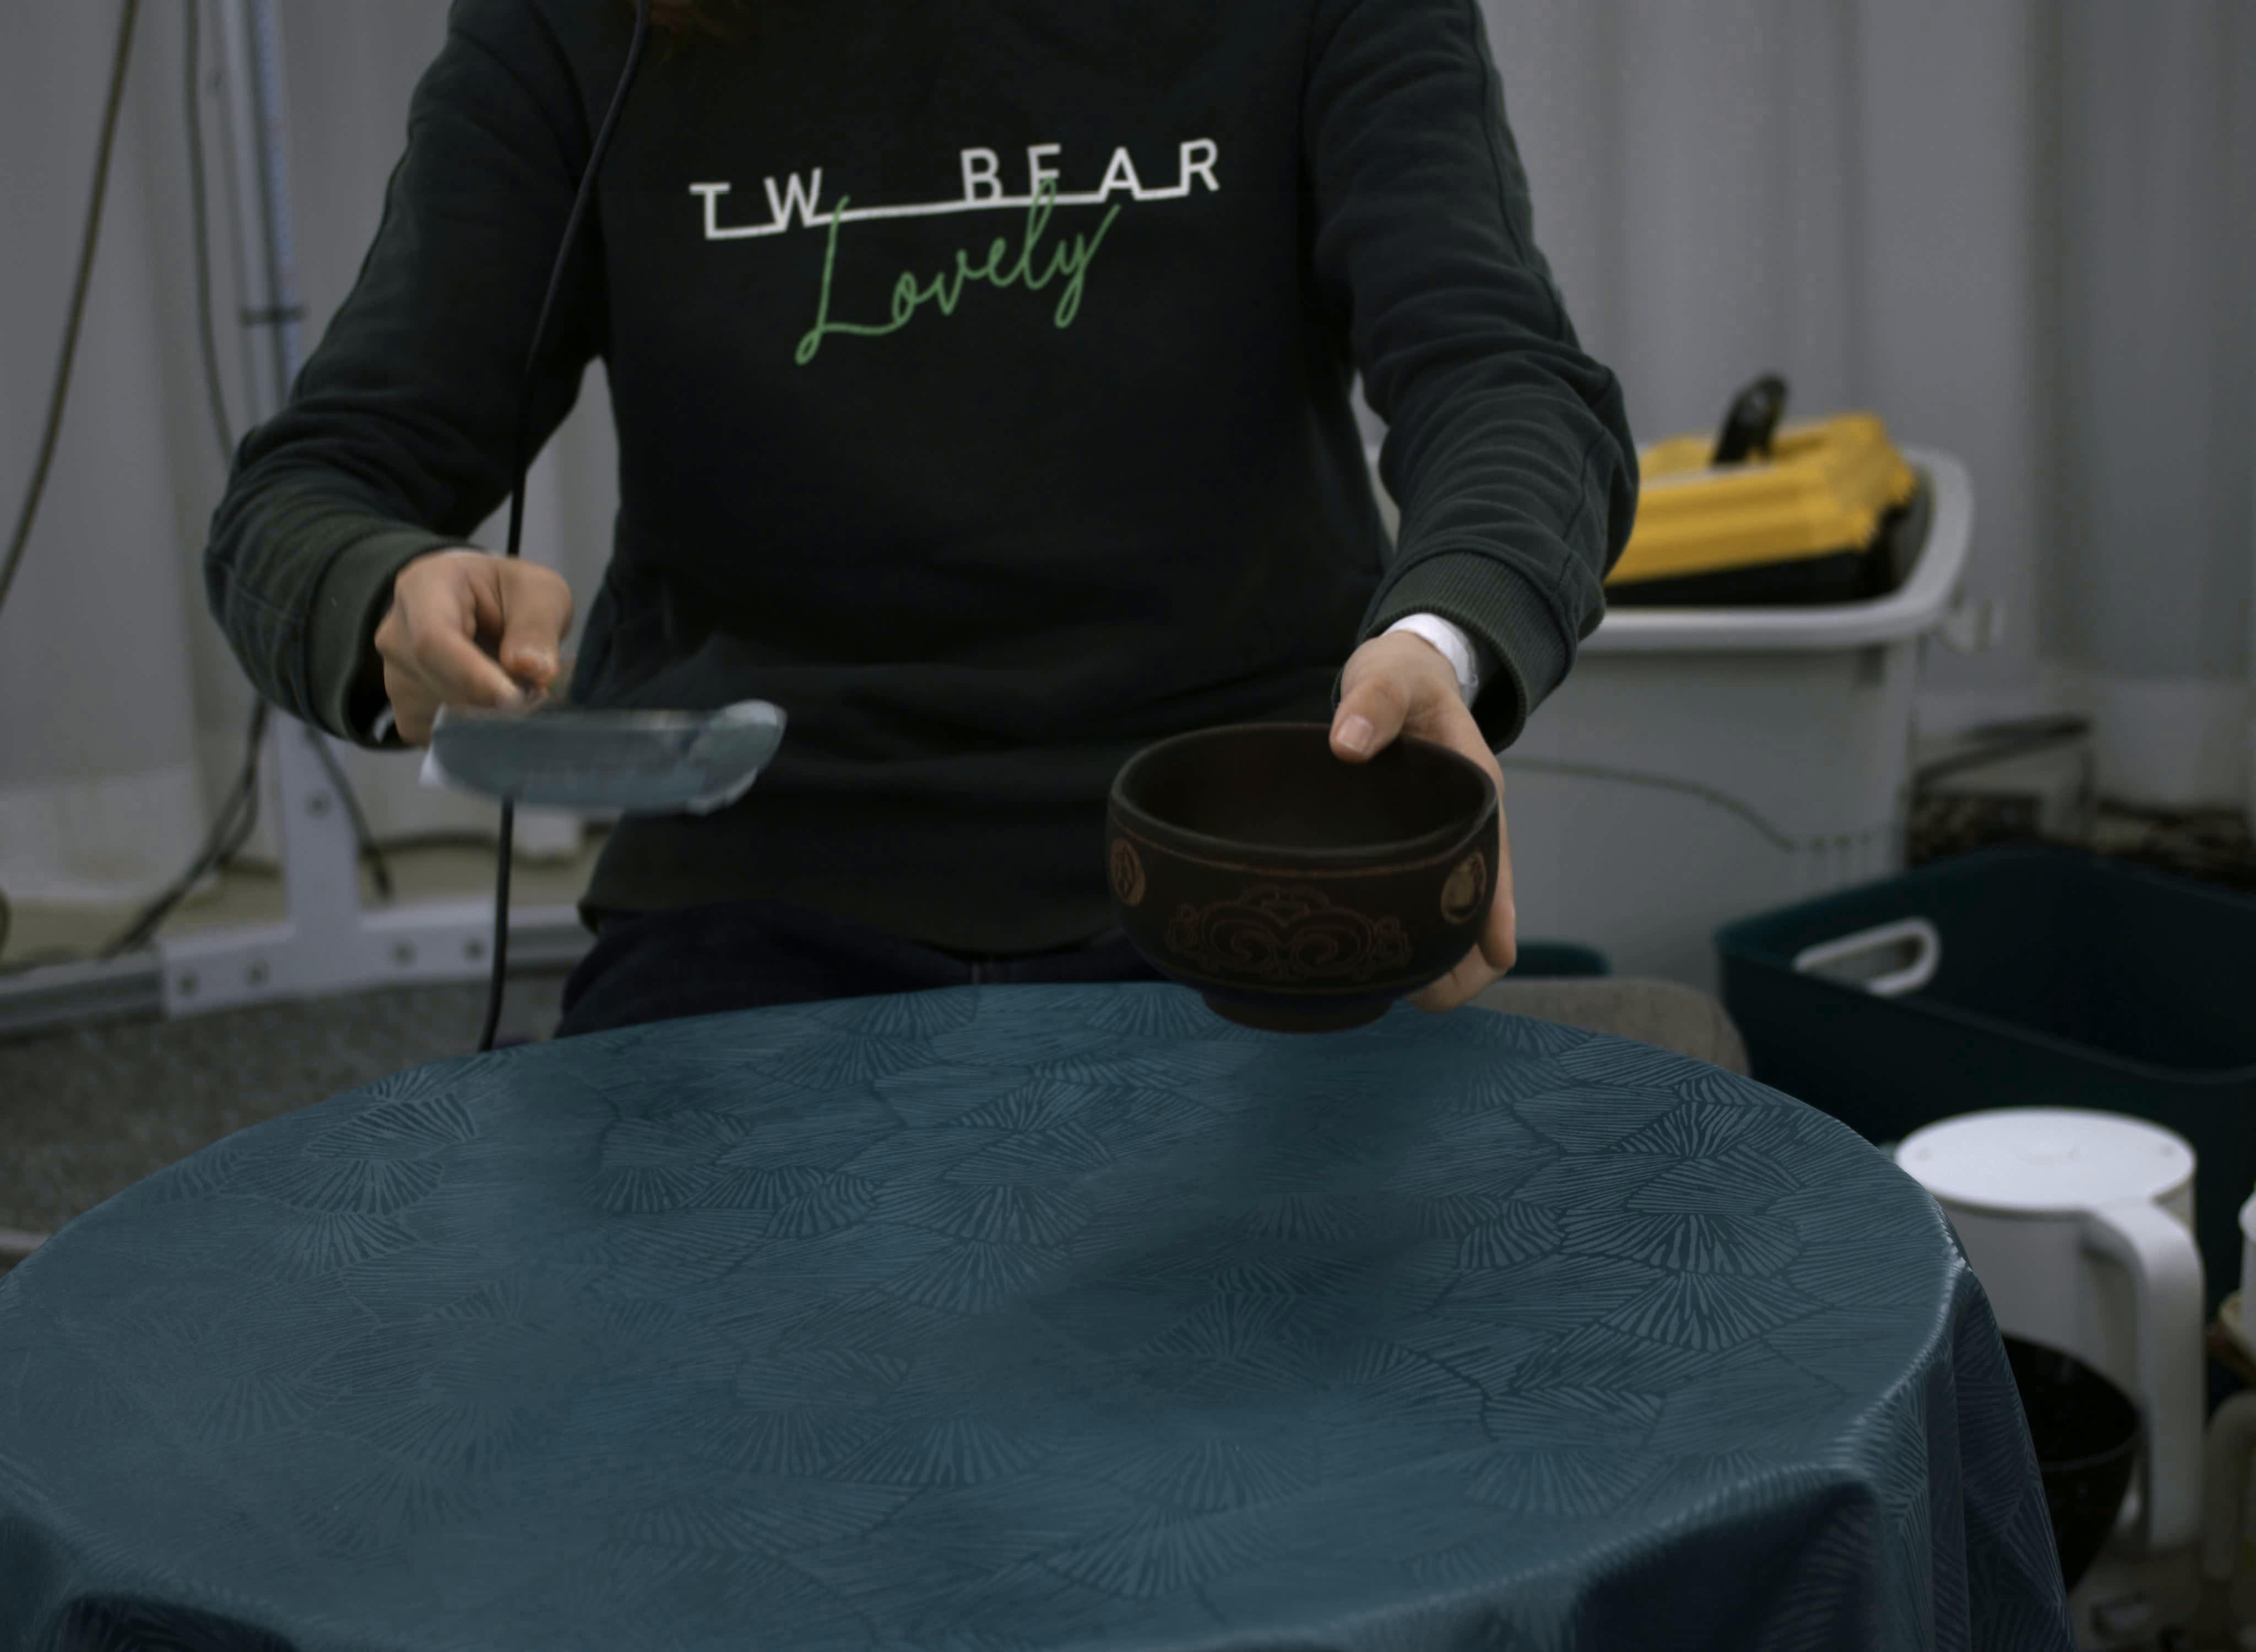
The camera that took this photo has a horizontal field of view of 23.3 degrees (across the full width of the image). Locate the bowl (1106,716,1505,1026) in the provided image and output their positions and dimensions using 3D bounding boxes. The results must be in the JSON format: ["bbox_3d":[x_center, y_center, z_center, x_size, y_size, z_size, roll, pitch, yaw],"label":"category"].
[{"bbox_3d":[0.052,0.017,1.621,0.117,0.069,0.119,2,18,-1],"label":"bowl"}]

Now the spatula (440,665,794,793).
[{"bbox_3d":[-0.166,-0.042,1.664,0.098,0.045,0.366,-1,8,-9],"label":"spatula"}]
